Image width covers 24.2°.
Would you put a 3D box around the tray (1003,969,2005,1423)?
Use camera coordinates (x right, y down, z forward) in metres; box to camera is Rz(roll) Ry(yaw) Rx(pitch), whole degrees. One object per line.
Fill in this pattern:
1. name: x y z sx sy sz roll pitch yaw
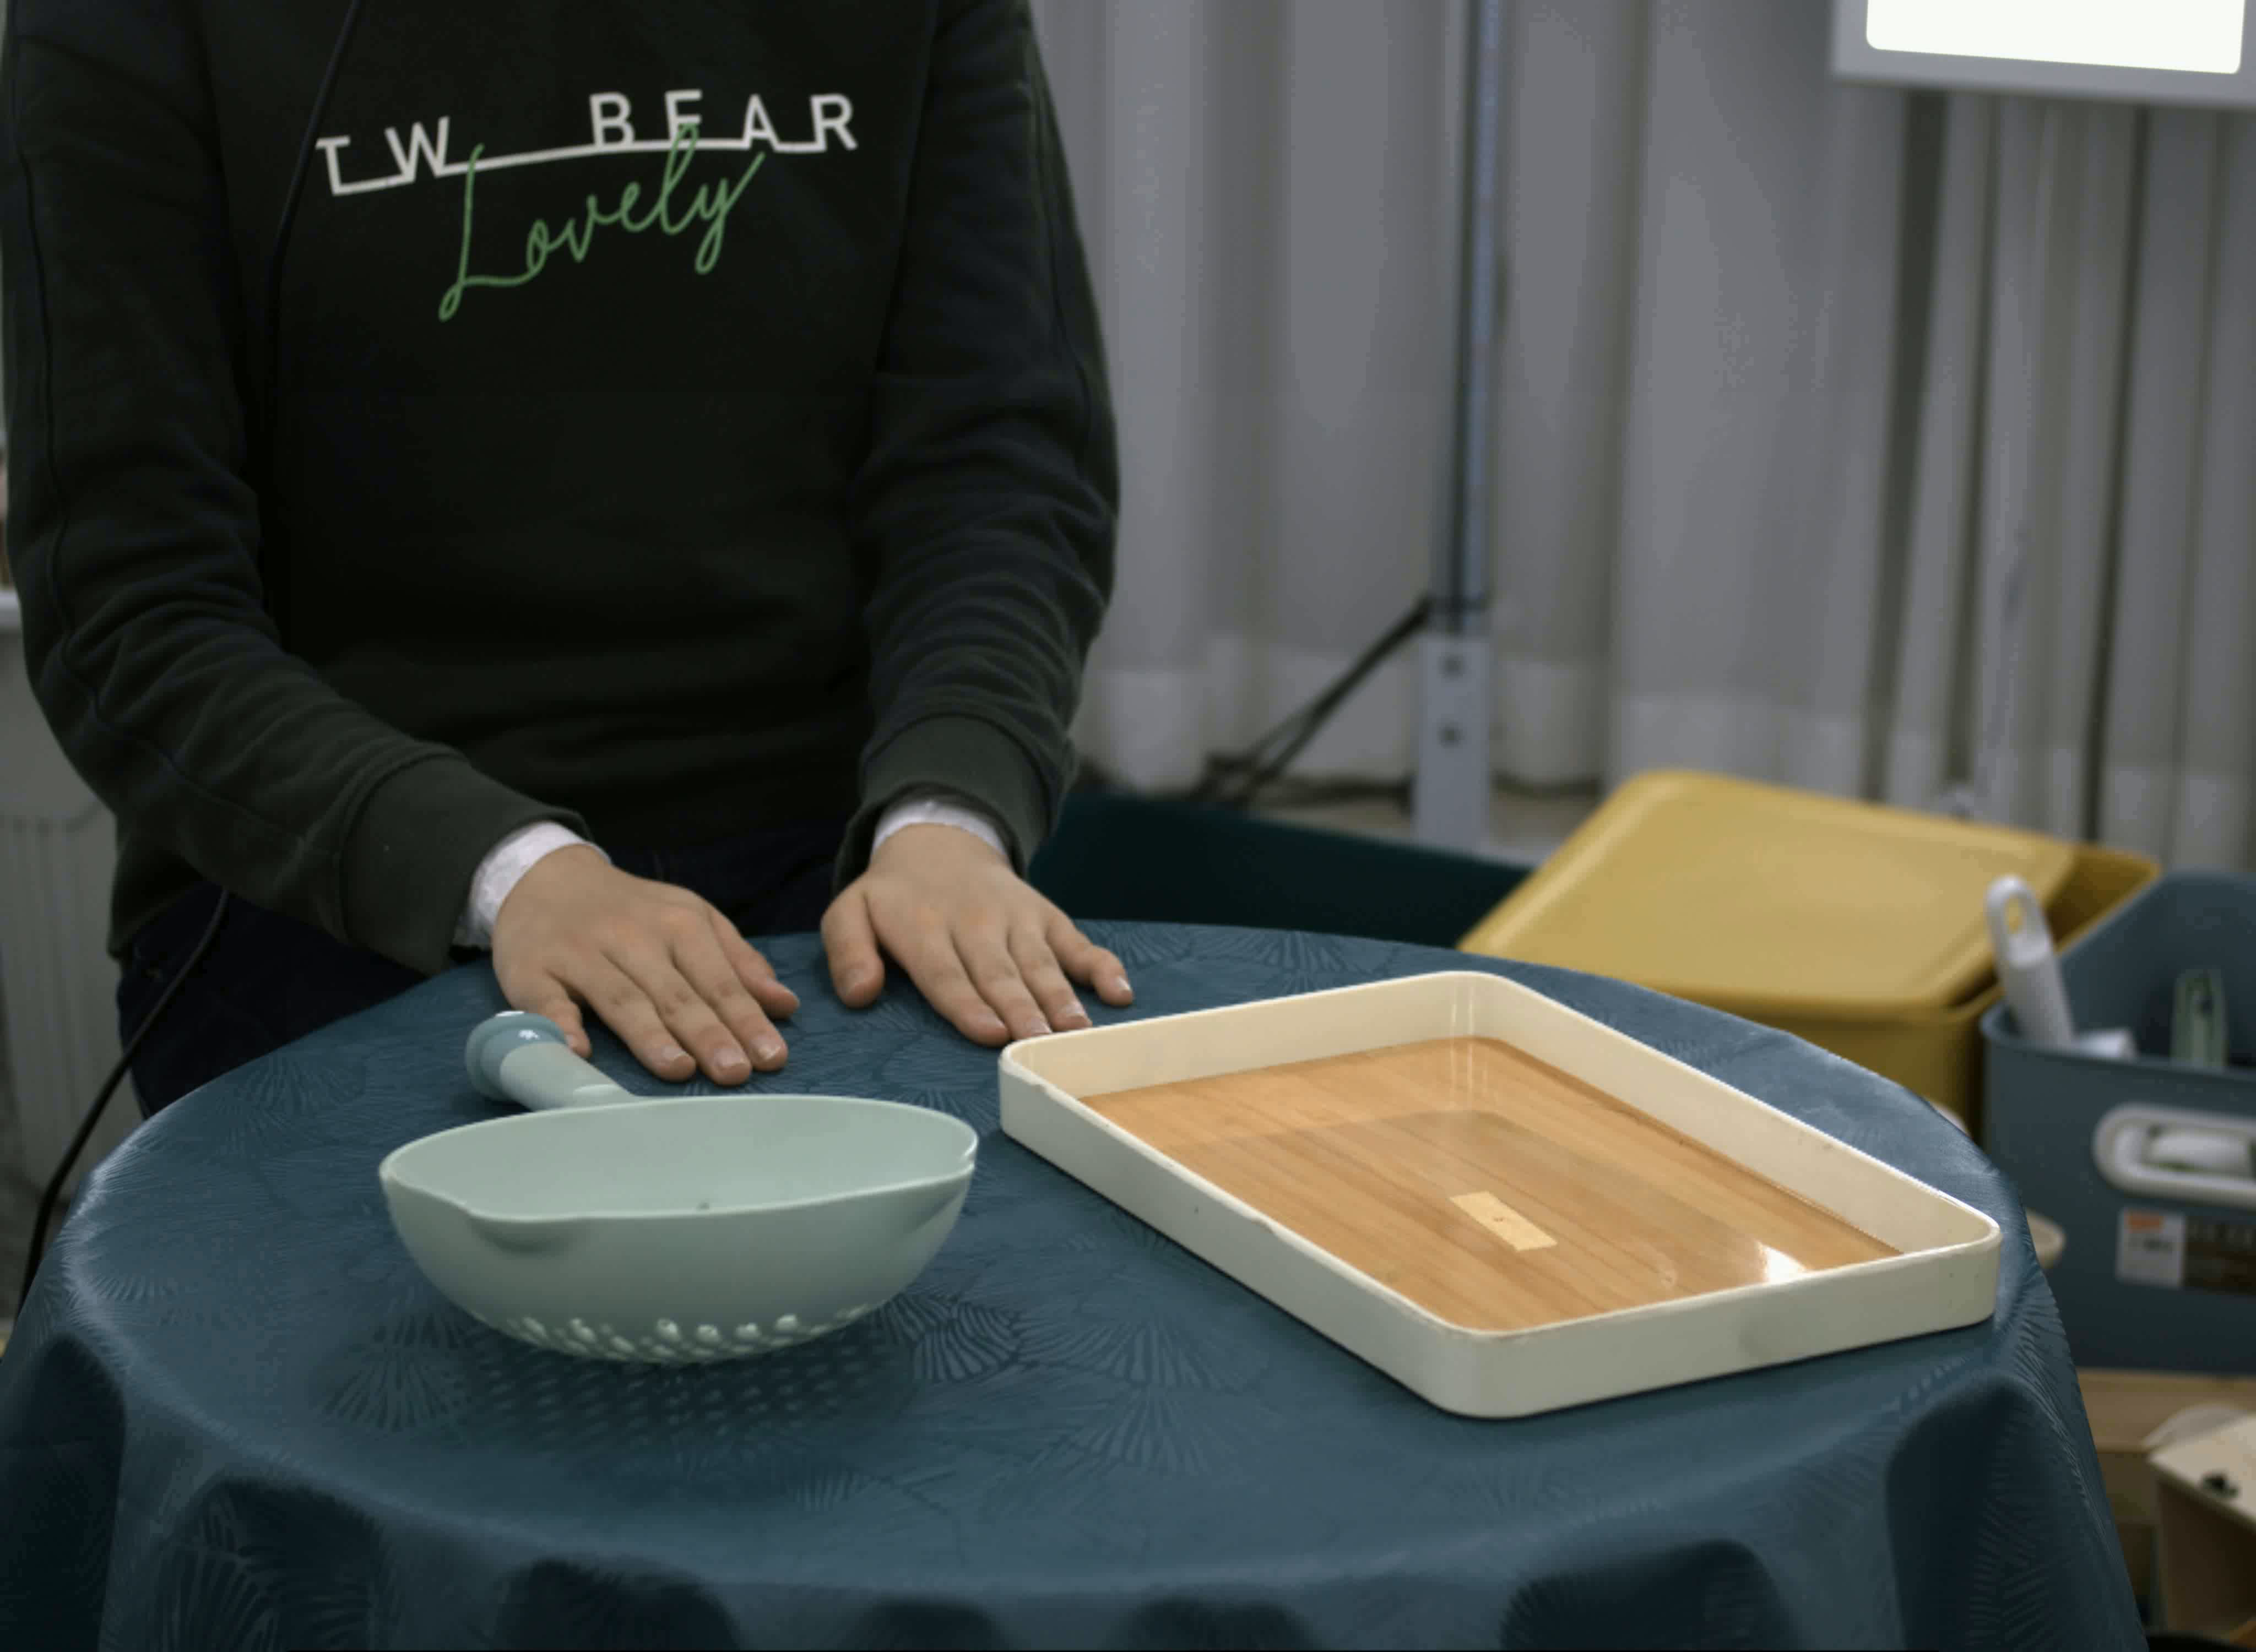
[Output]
1. tray: 0.107 0.107 1.603 0.192 0.027 0.296 -8 18 -27

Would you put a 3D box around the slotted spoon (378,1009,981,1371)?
1. slotted spoon: -0.154 0.092 1.572 0.170 0.076 0.355 -4 17 -17
